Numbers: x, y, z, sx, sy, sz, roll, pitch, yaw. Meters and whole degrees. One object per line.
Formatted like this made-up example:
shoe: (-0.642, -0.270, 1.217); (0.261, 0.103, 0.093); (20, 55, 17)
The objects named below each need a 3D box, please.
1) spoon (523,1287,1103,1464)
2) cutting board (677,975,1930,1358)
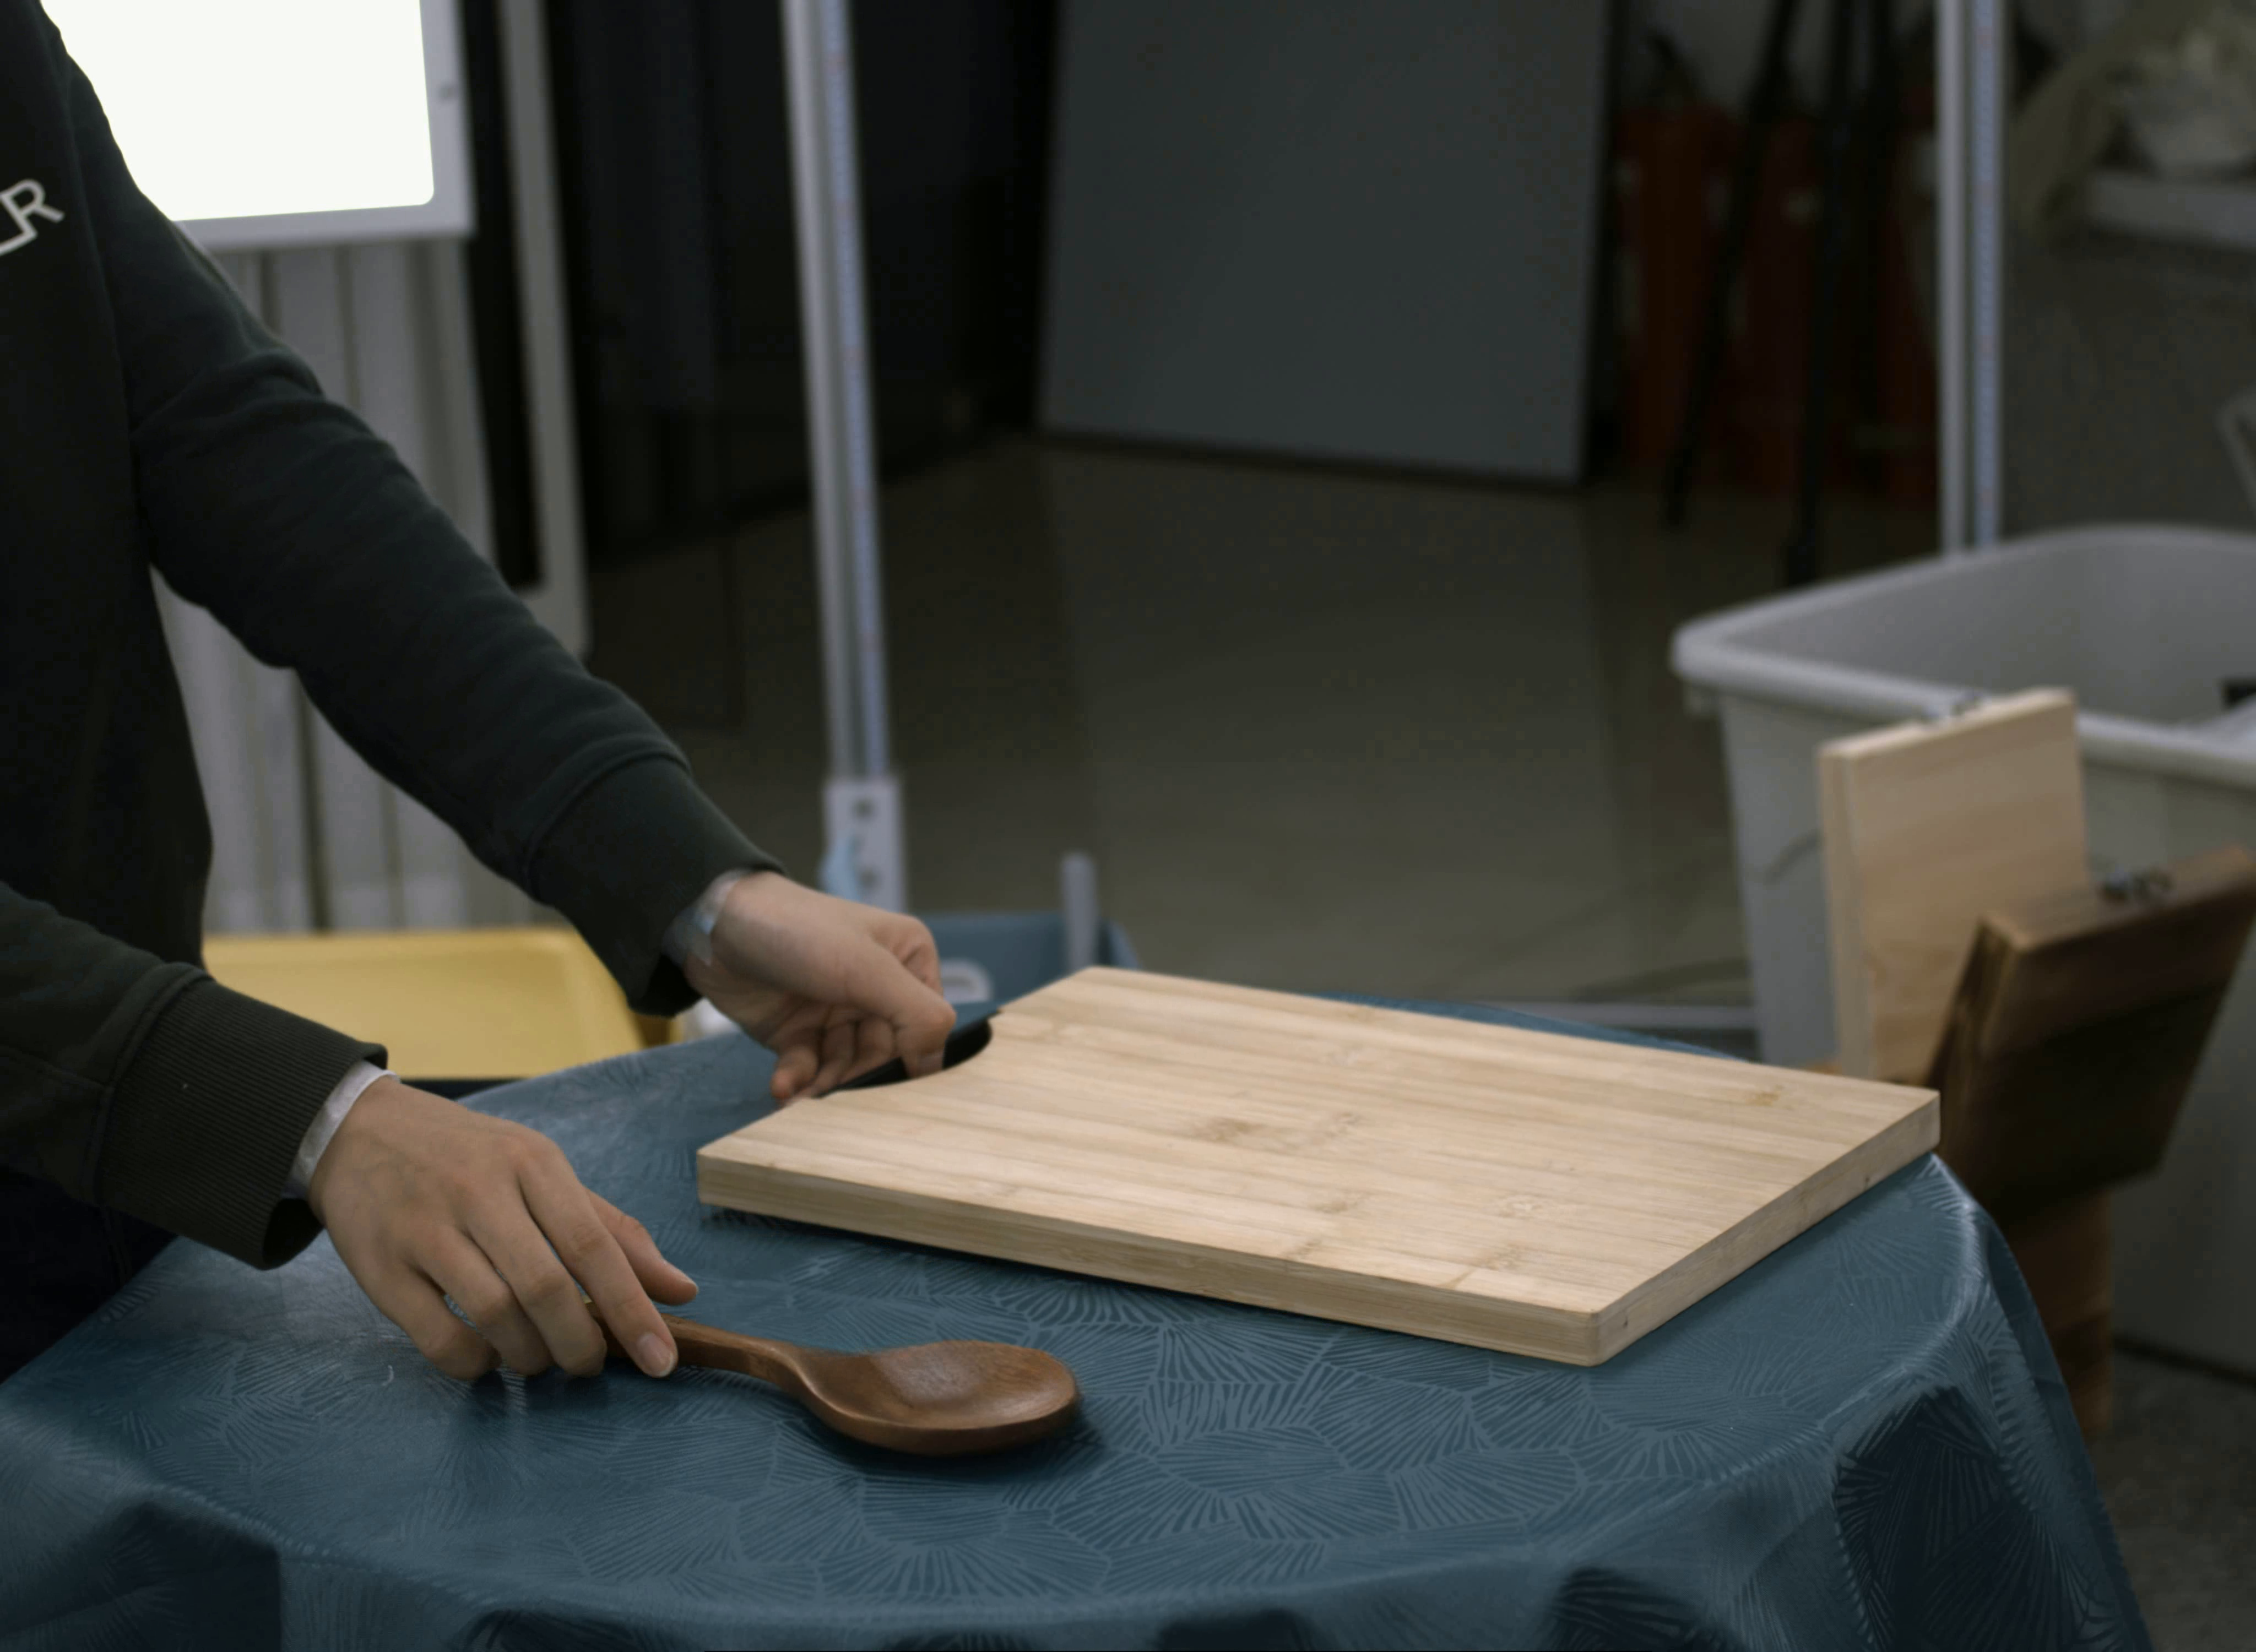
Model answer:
spoon: (-0.098, 0.161, 1.600); (0.217, 0.017, 0.074); (8, 20, 39)
cutting board: (0.058, 0.106, 1.770); (0.350, 0.024, 0.246); (6, 17, 33)
